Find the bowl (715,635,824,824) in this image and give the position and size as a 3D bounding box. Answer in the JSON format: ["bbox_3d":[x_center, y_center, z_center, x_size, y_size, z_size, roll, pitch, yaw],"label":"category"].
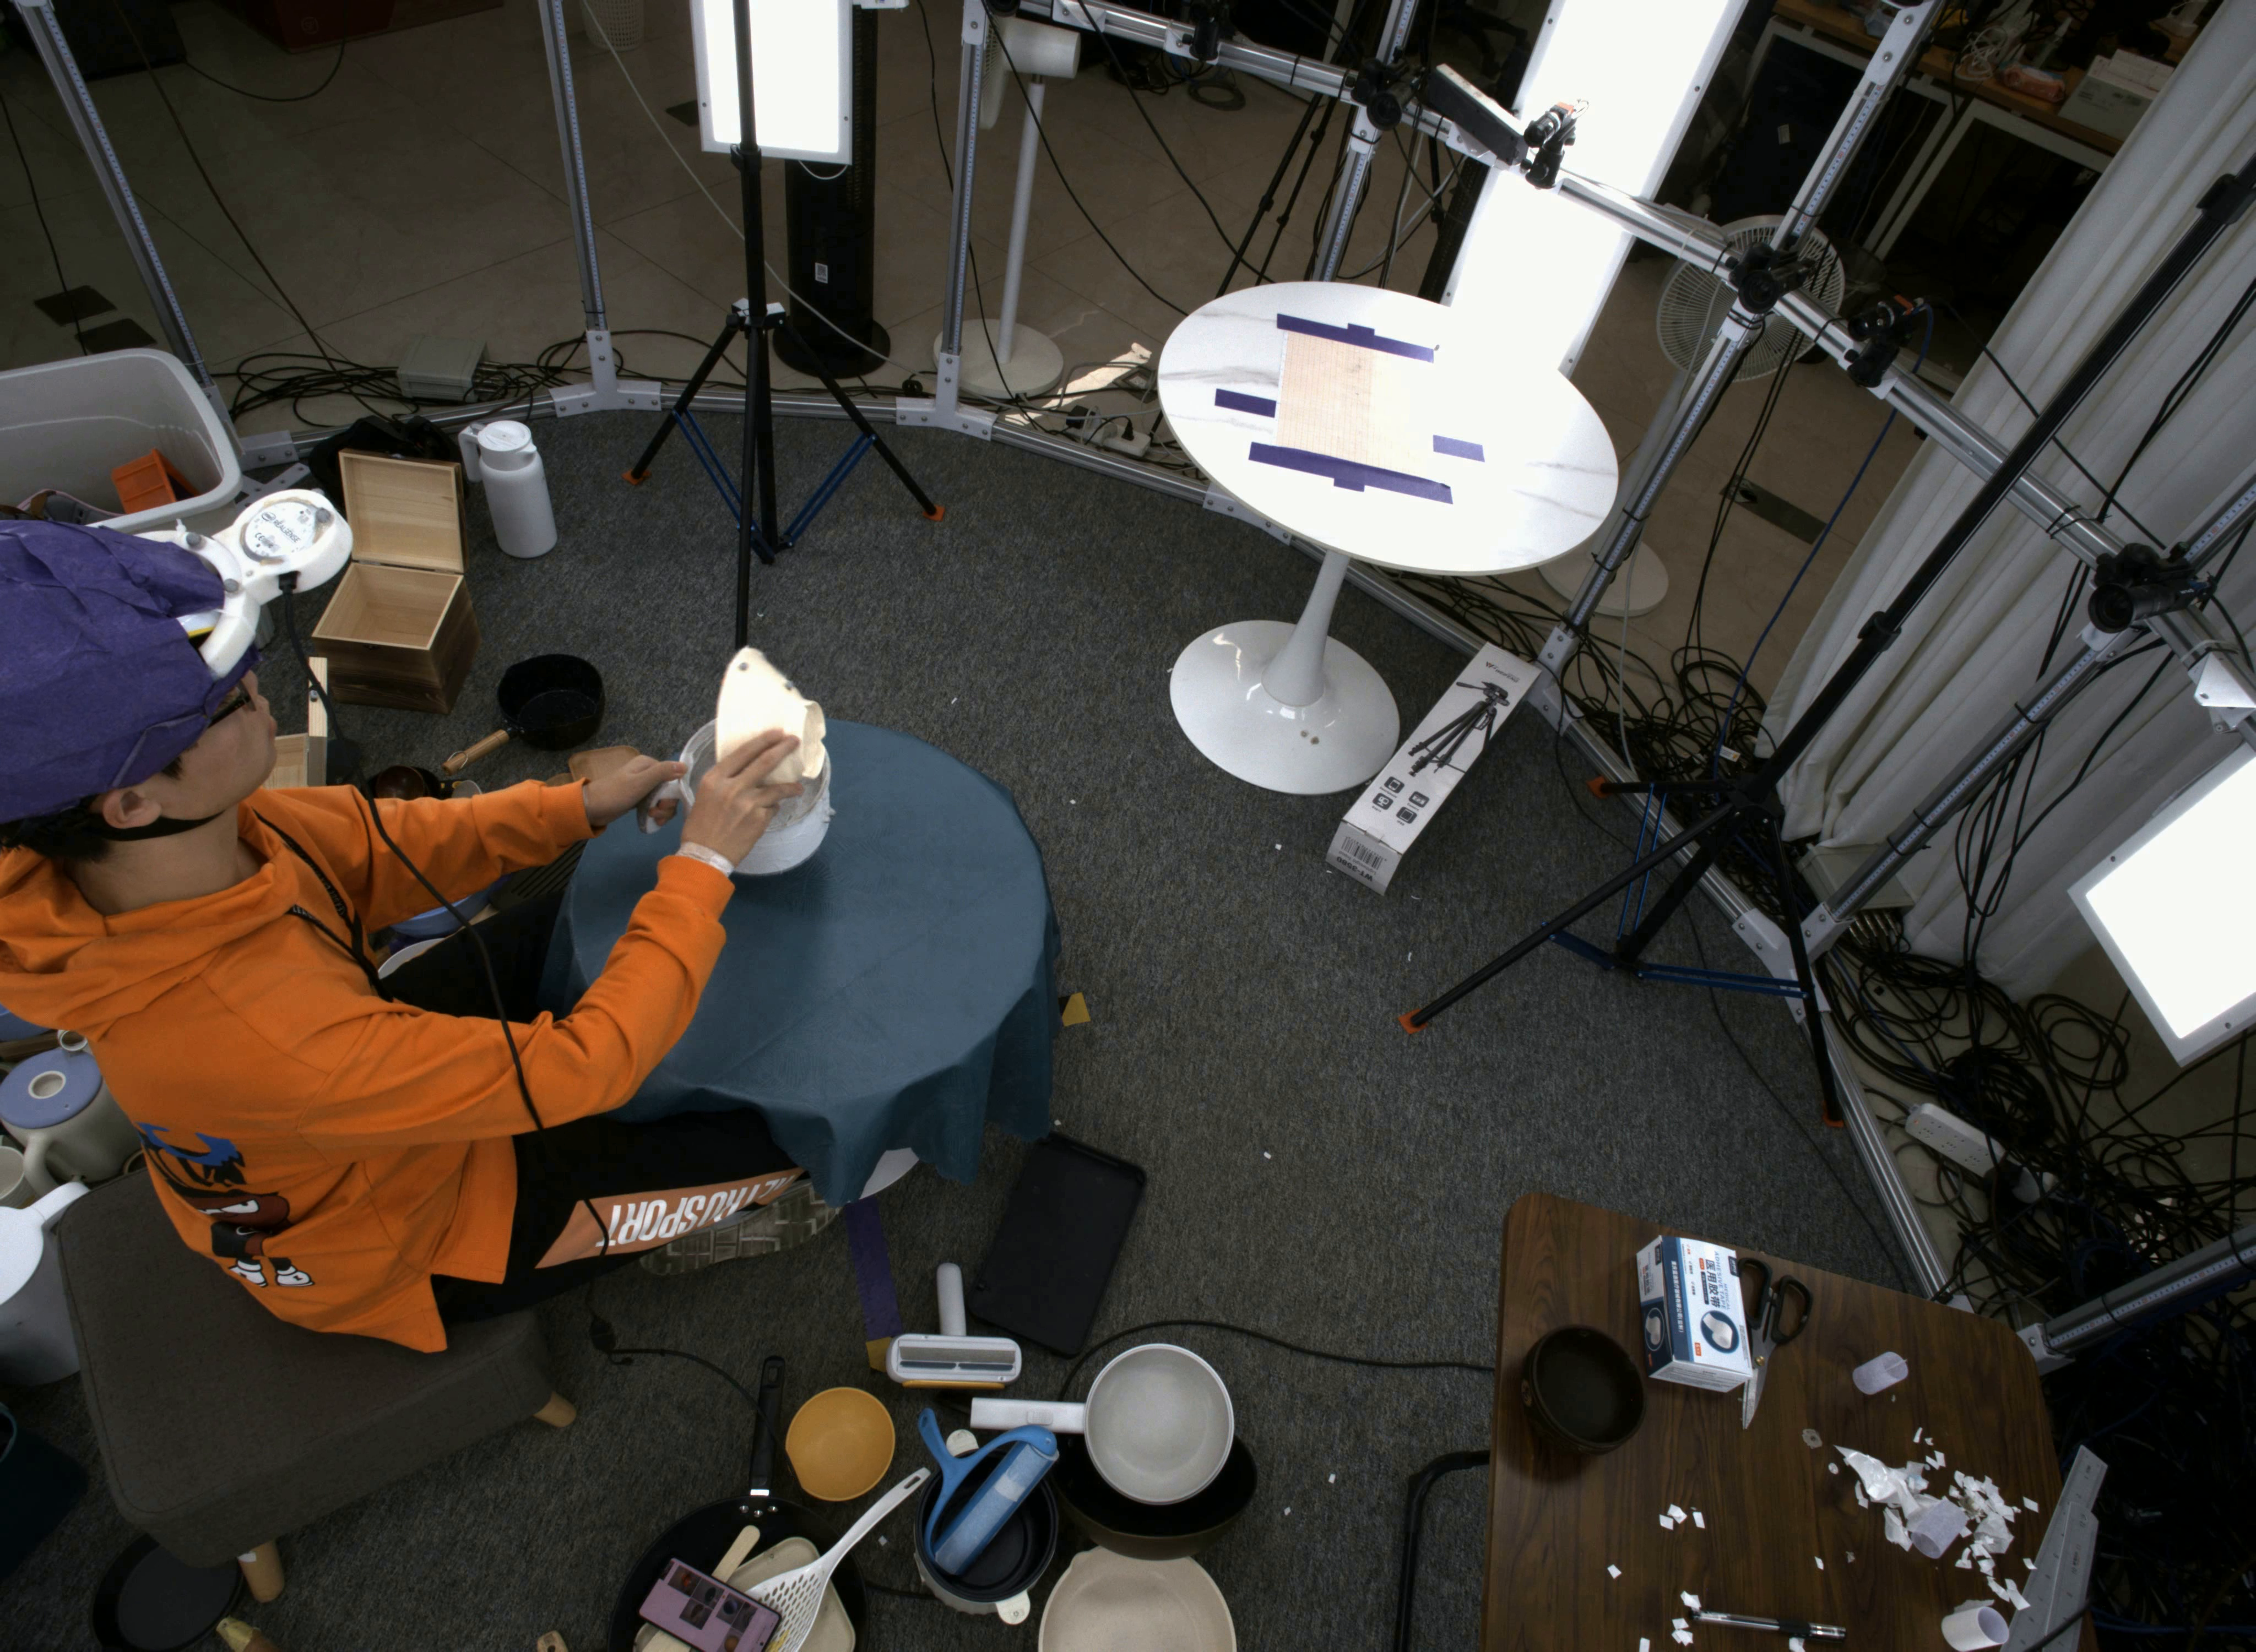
[{"bbox_3d":[-0.384,-0.106,1.428,0.077,0.210,0.200,0,51,2],"label":"bowl"}]

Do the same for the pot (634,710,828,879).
[{"bbox_3d":[-0.480,-0.036,1.559,0.235,0.139,0.175,-4,59,-18],"label":"pot"}]
